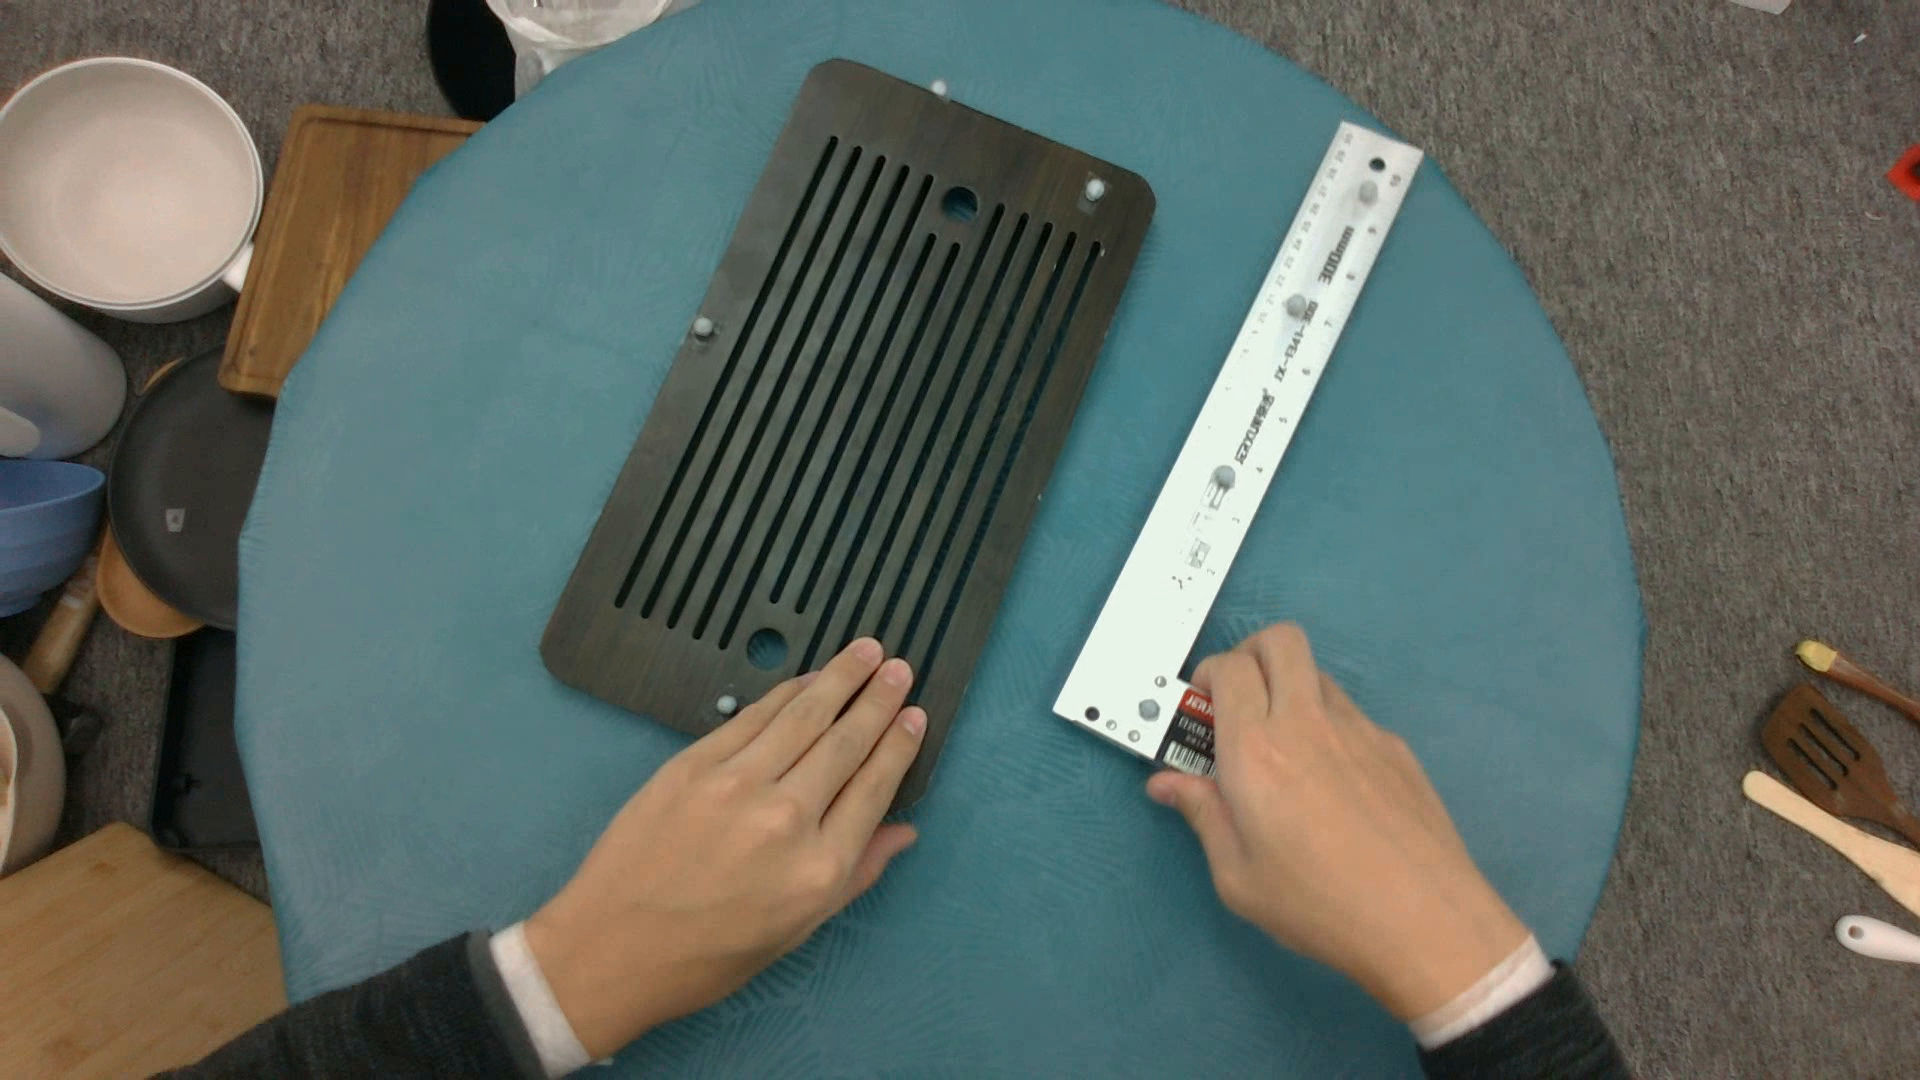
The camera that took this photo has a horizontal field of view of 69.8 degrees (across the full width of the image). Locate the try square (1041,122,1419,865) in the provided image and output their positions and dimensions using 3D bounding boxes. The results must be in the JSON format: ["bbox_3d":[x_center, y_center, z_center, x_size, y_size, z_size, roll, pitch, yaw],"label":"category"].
[{"bbox_3d":[0.168,-0.035,0.595,0.152,0.016,0.314,25,74,12],"label":"try square"}]

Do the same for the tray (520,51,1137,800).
[{"bbox_3d":[-0.050,-0.058,0.598,0.170,0.018,0.306,22,76,1],"label":"tray"}]
